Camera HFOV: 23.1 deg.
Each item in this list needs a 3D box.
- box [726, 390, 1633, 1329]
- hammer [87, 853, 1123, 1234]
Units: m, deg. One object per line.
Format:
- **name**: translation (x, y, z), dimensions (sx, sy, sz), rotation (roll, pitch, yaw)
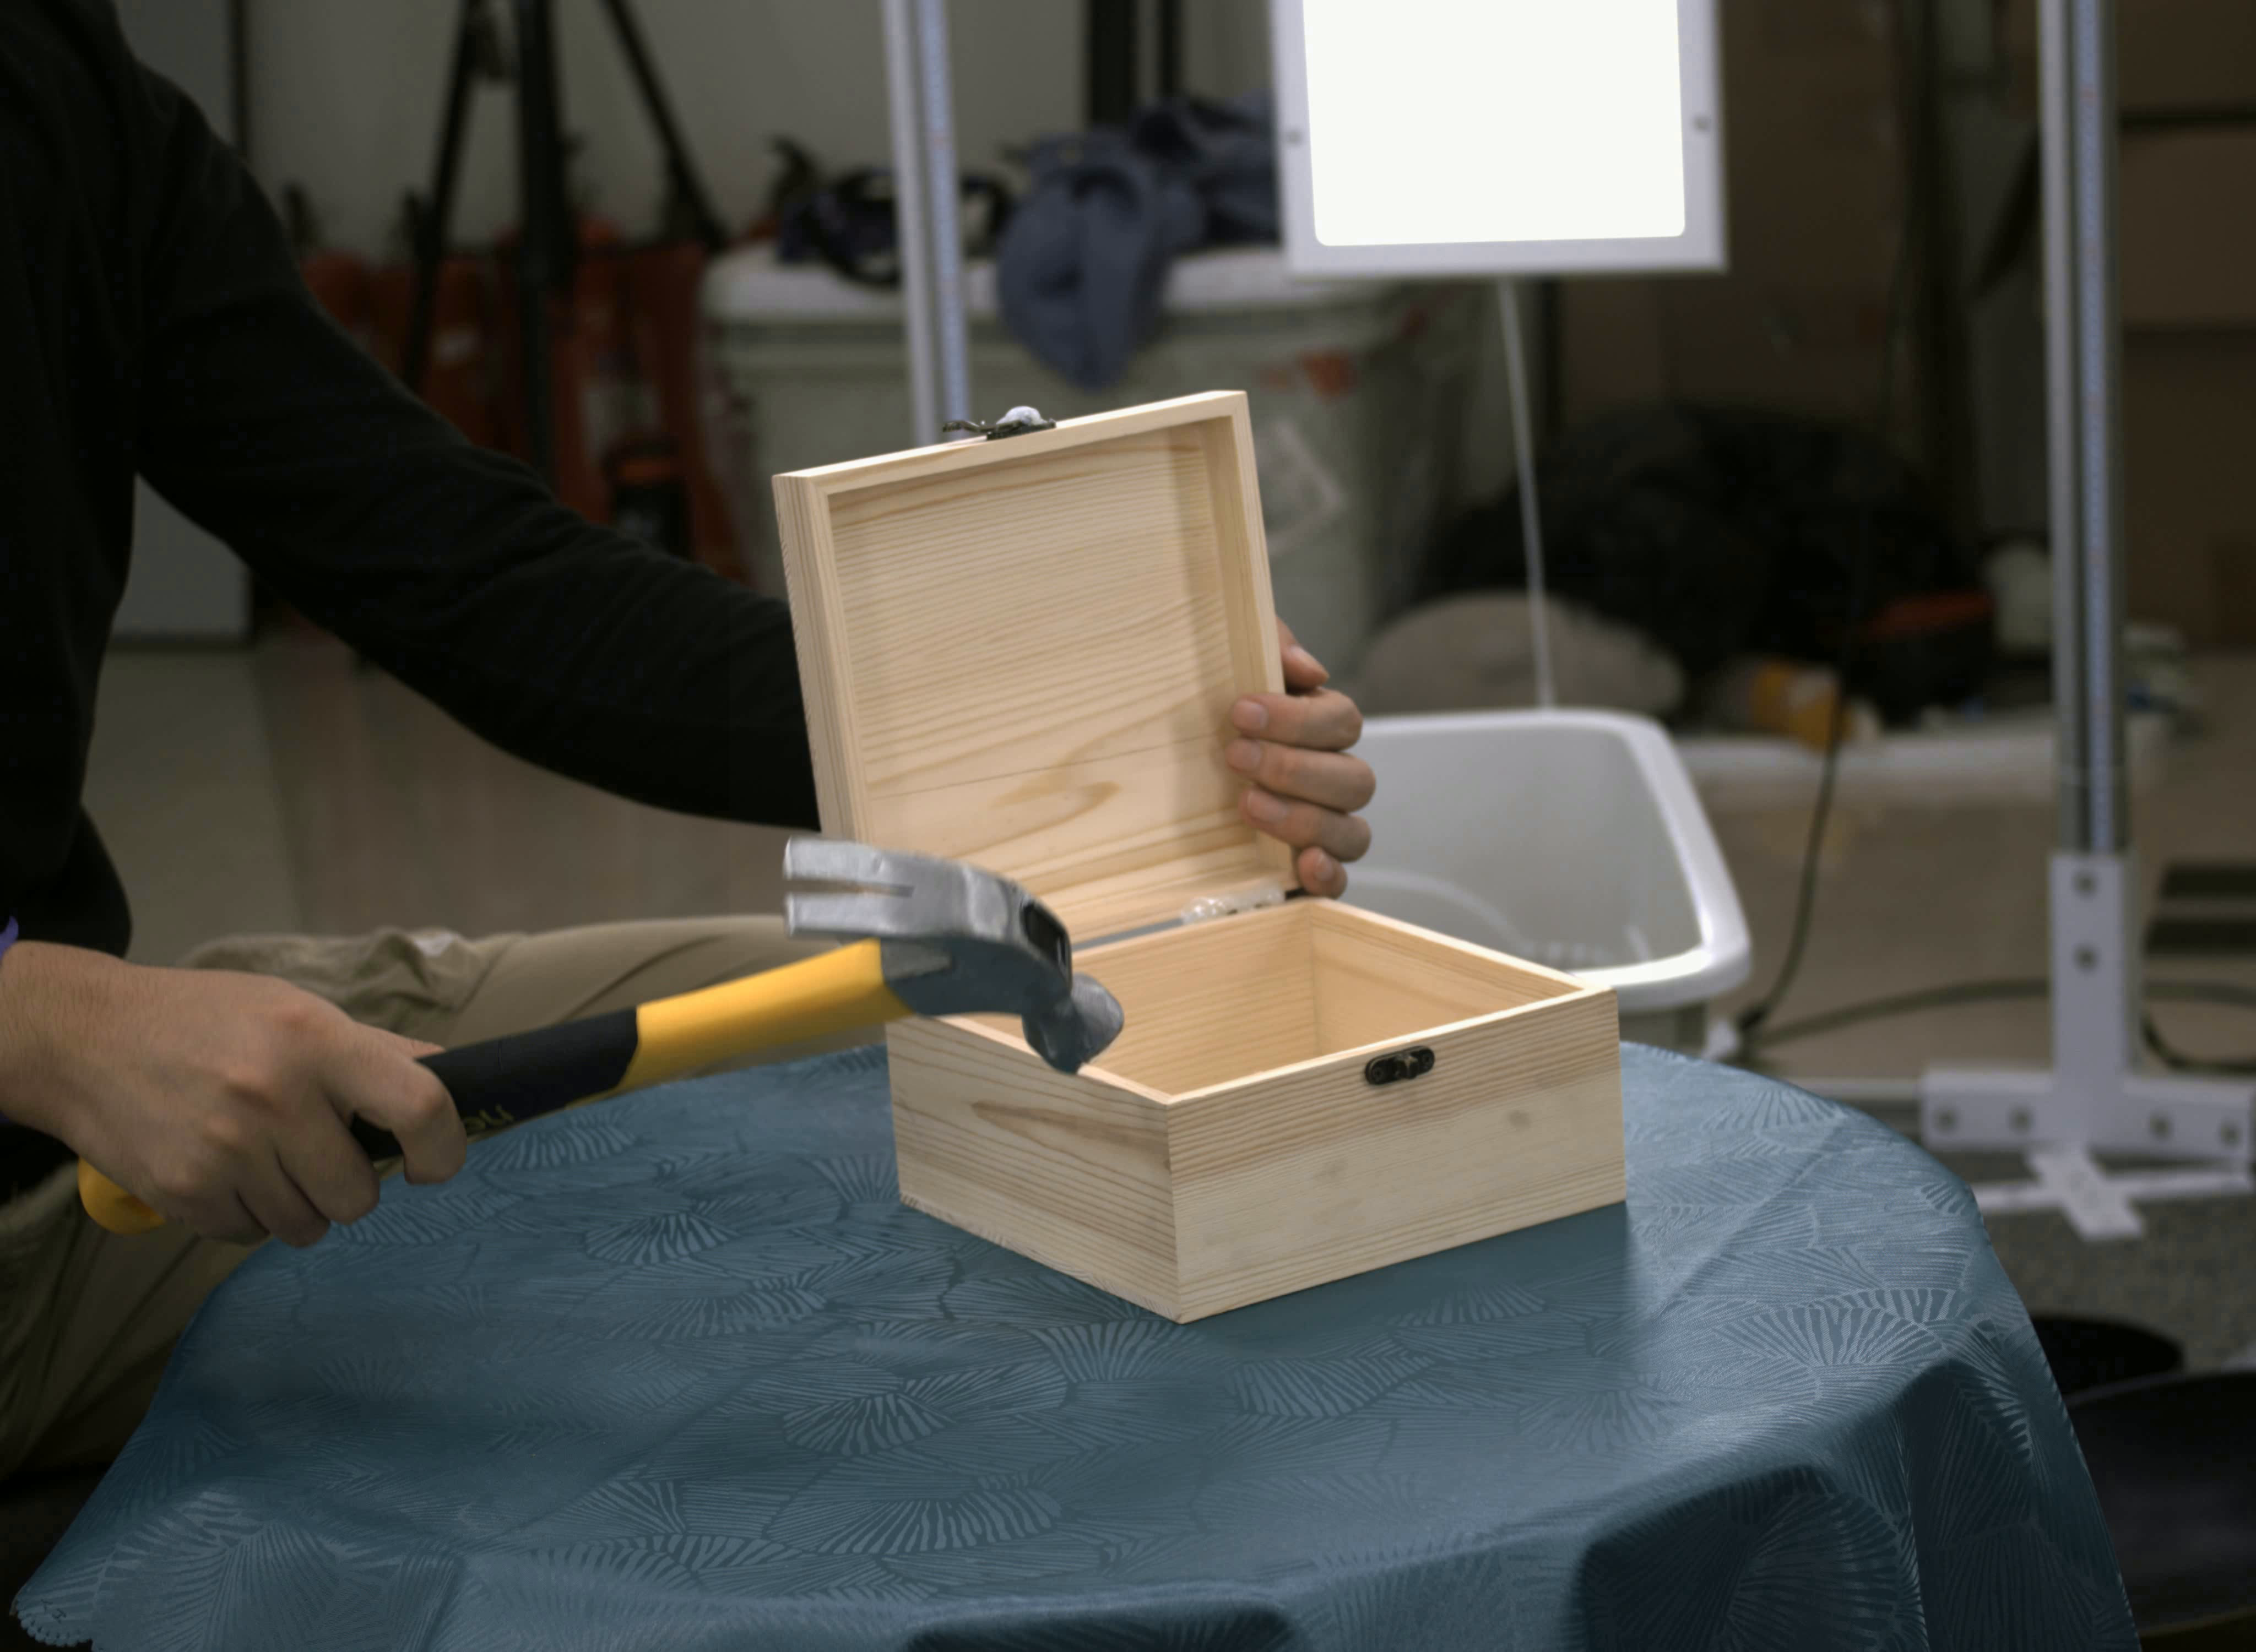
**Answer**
- **box**: translation (0.017, 0.002, 1.873), dimensions (0.177, 0.254, 0.270), rotation (-15, 18, -29)
- **hammer**: translation (-0.180, 0.077, 1.741), dimensions (0.343, 0.032, 0.129), rotation (-15, -32, 22)
